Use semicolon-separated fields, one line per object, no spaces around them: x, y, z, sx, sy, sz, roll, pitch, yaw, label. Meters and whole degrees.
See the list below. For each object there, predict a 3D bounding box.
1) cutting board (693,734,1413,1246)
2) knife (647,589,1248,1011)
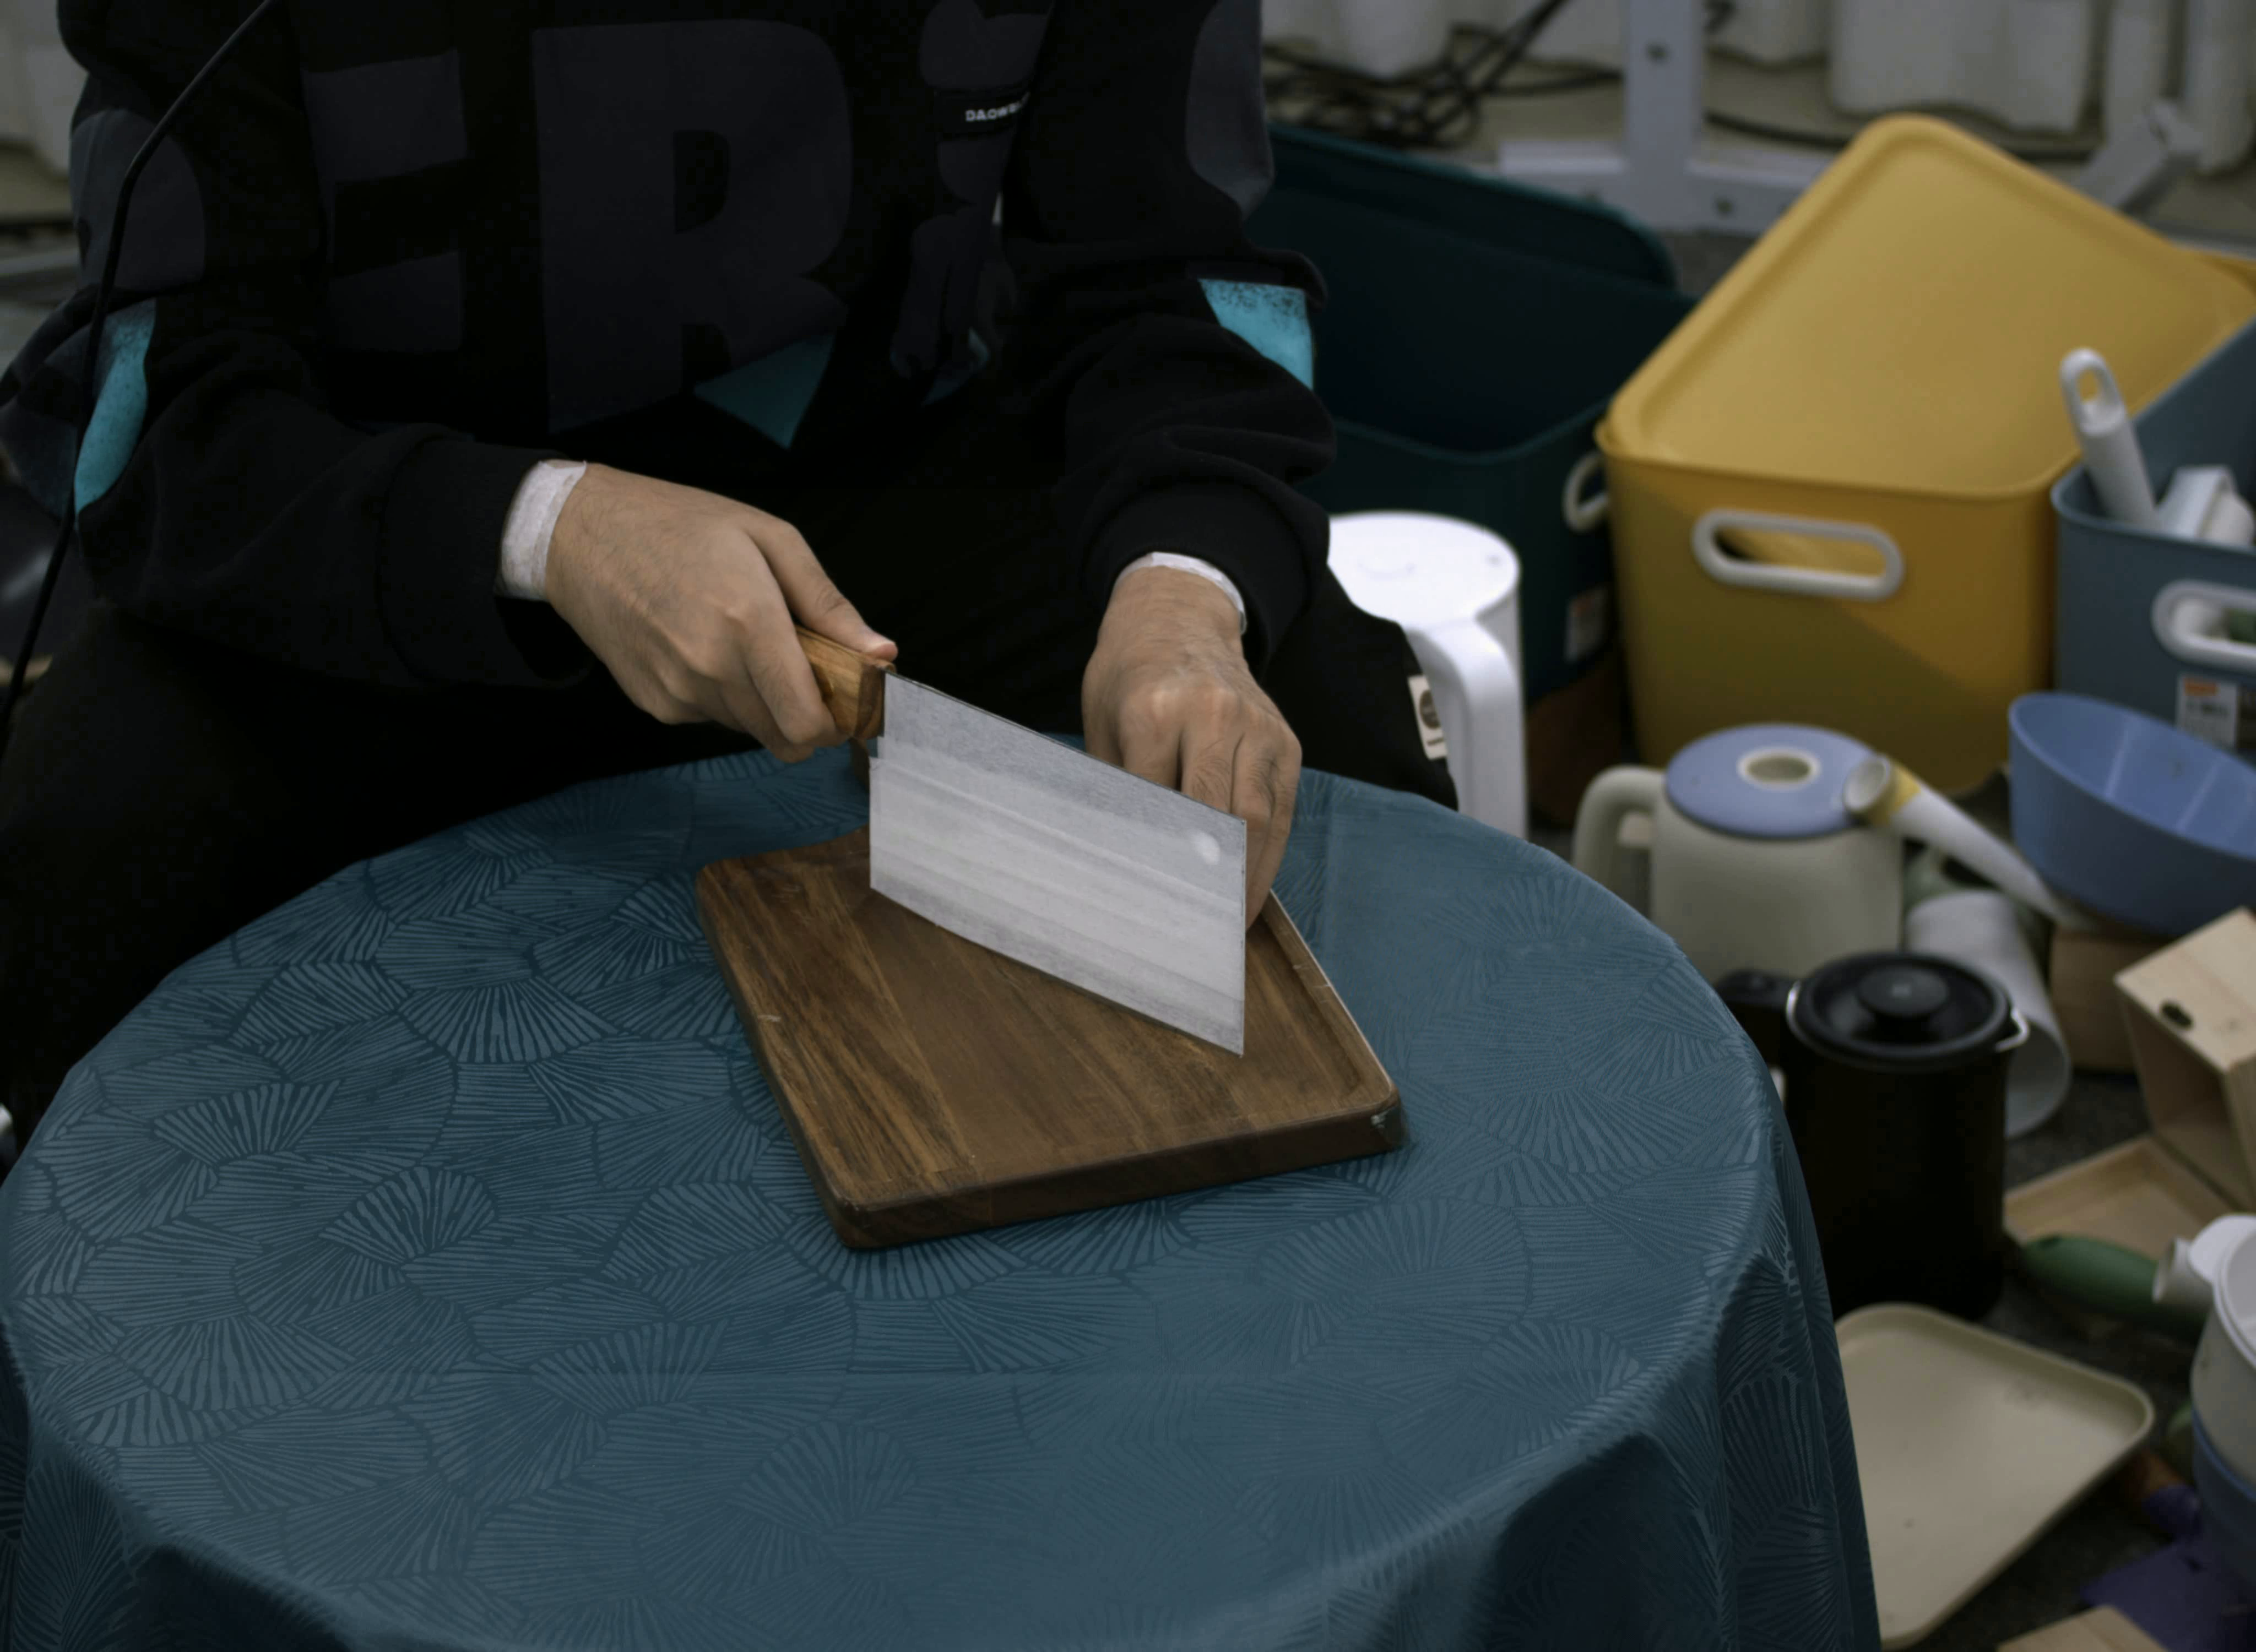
-0.044;0.043;2.002;0.201;0.023;0.355;-9;26;-13;cutting board
-0.066;-0.008;1.979;0.021;0.092;0.305;-20;31;-40;knife
